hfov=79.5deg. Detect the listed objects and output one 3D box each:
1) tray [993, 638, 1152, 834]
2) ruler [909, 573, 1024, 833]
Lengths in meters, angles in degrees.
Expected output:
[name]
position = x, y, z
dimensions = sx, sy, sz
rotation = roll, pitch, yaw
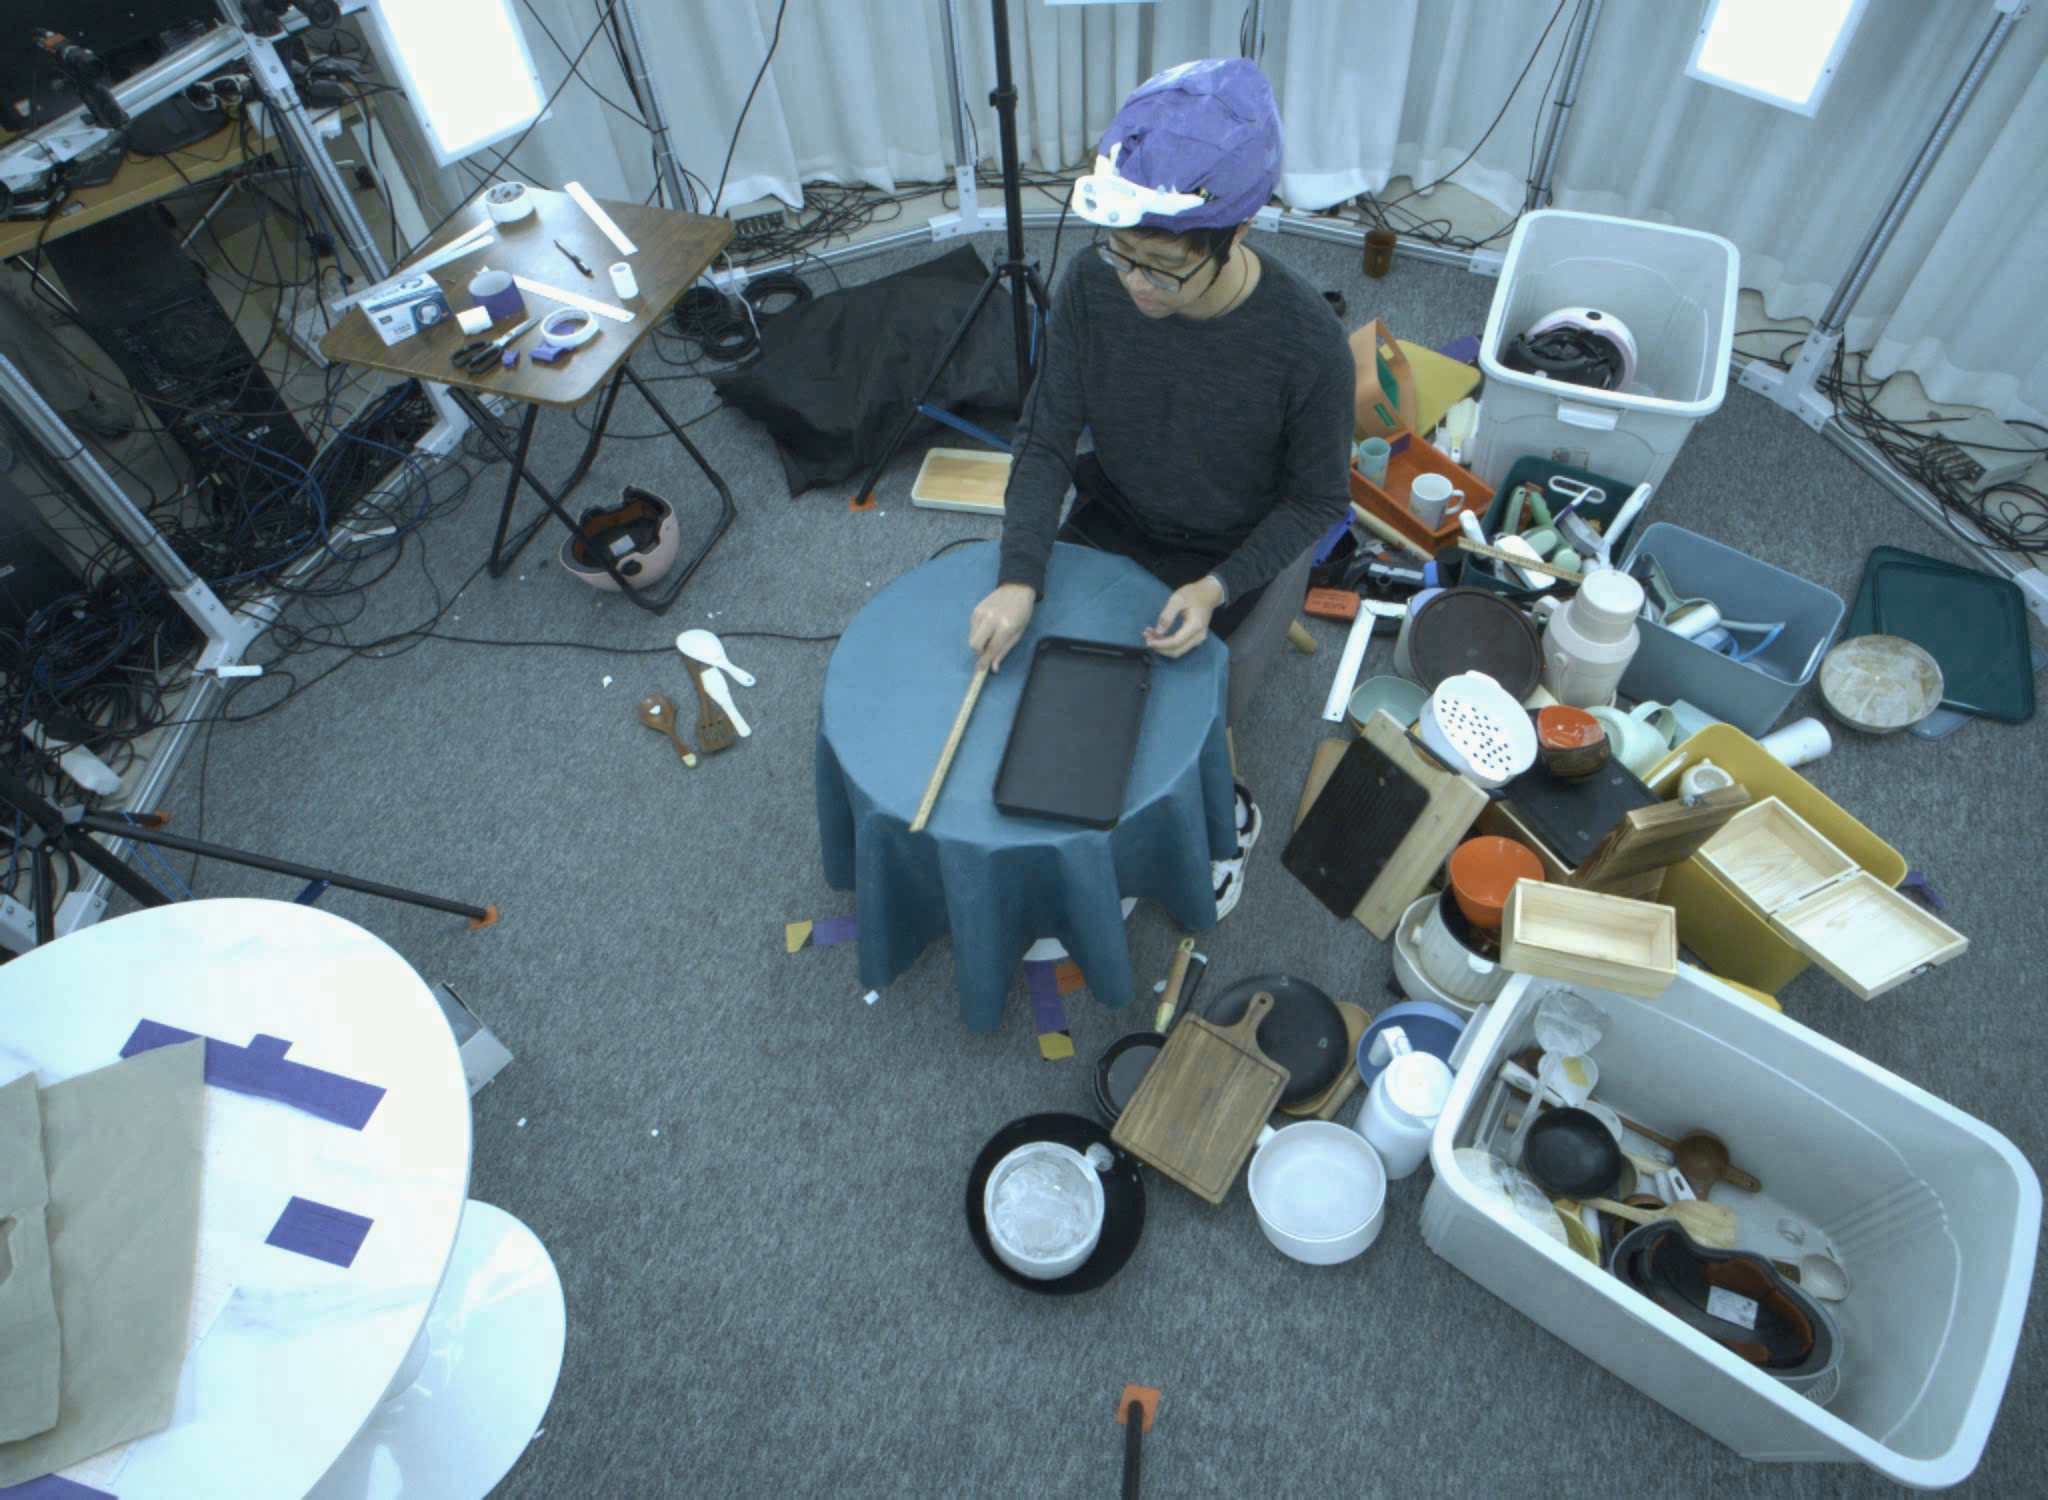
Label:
[tray]
position = 0.074, -0.027, 1.782
dimensions = 0.183, 0.037, 0.316
rotation = 8, 55, 8
[ruler]
position = -0.080, -0.084, 1.837
dimensions = 0.006, 0.026, 0.499
rotation = 38, 53, -26
